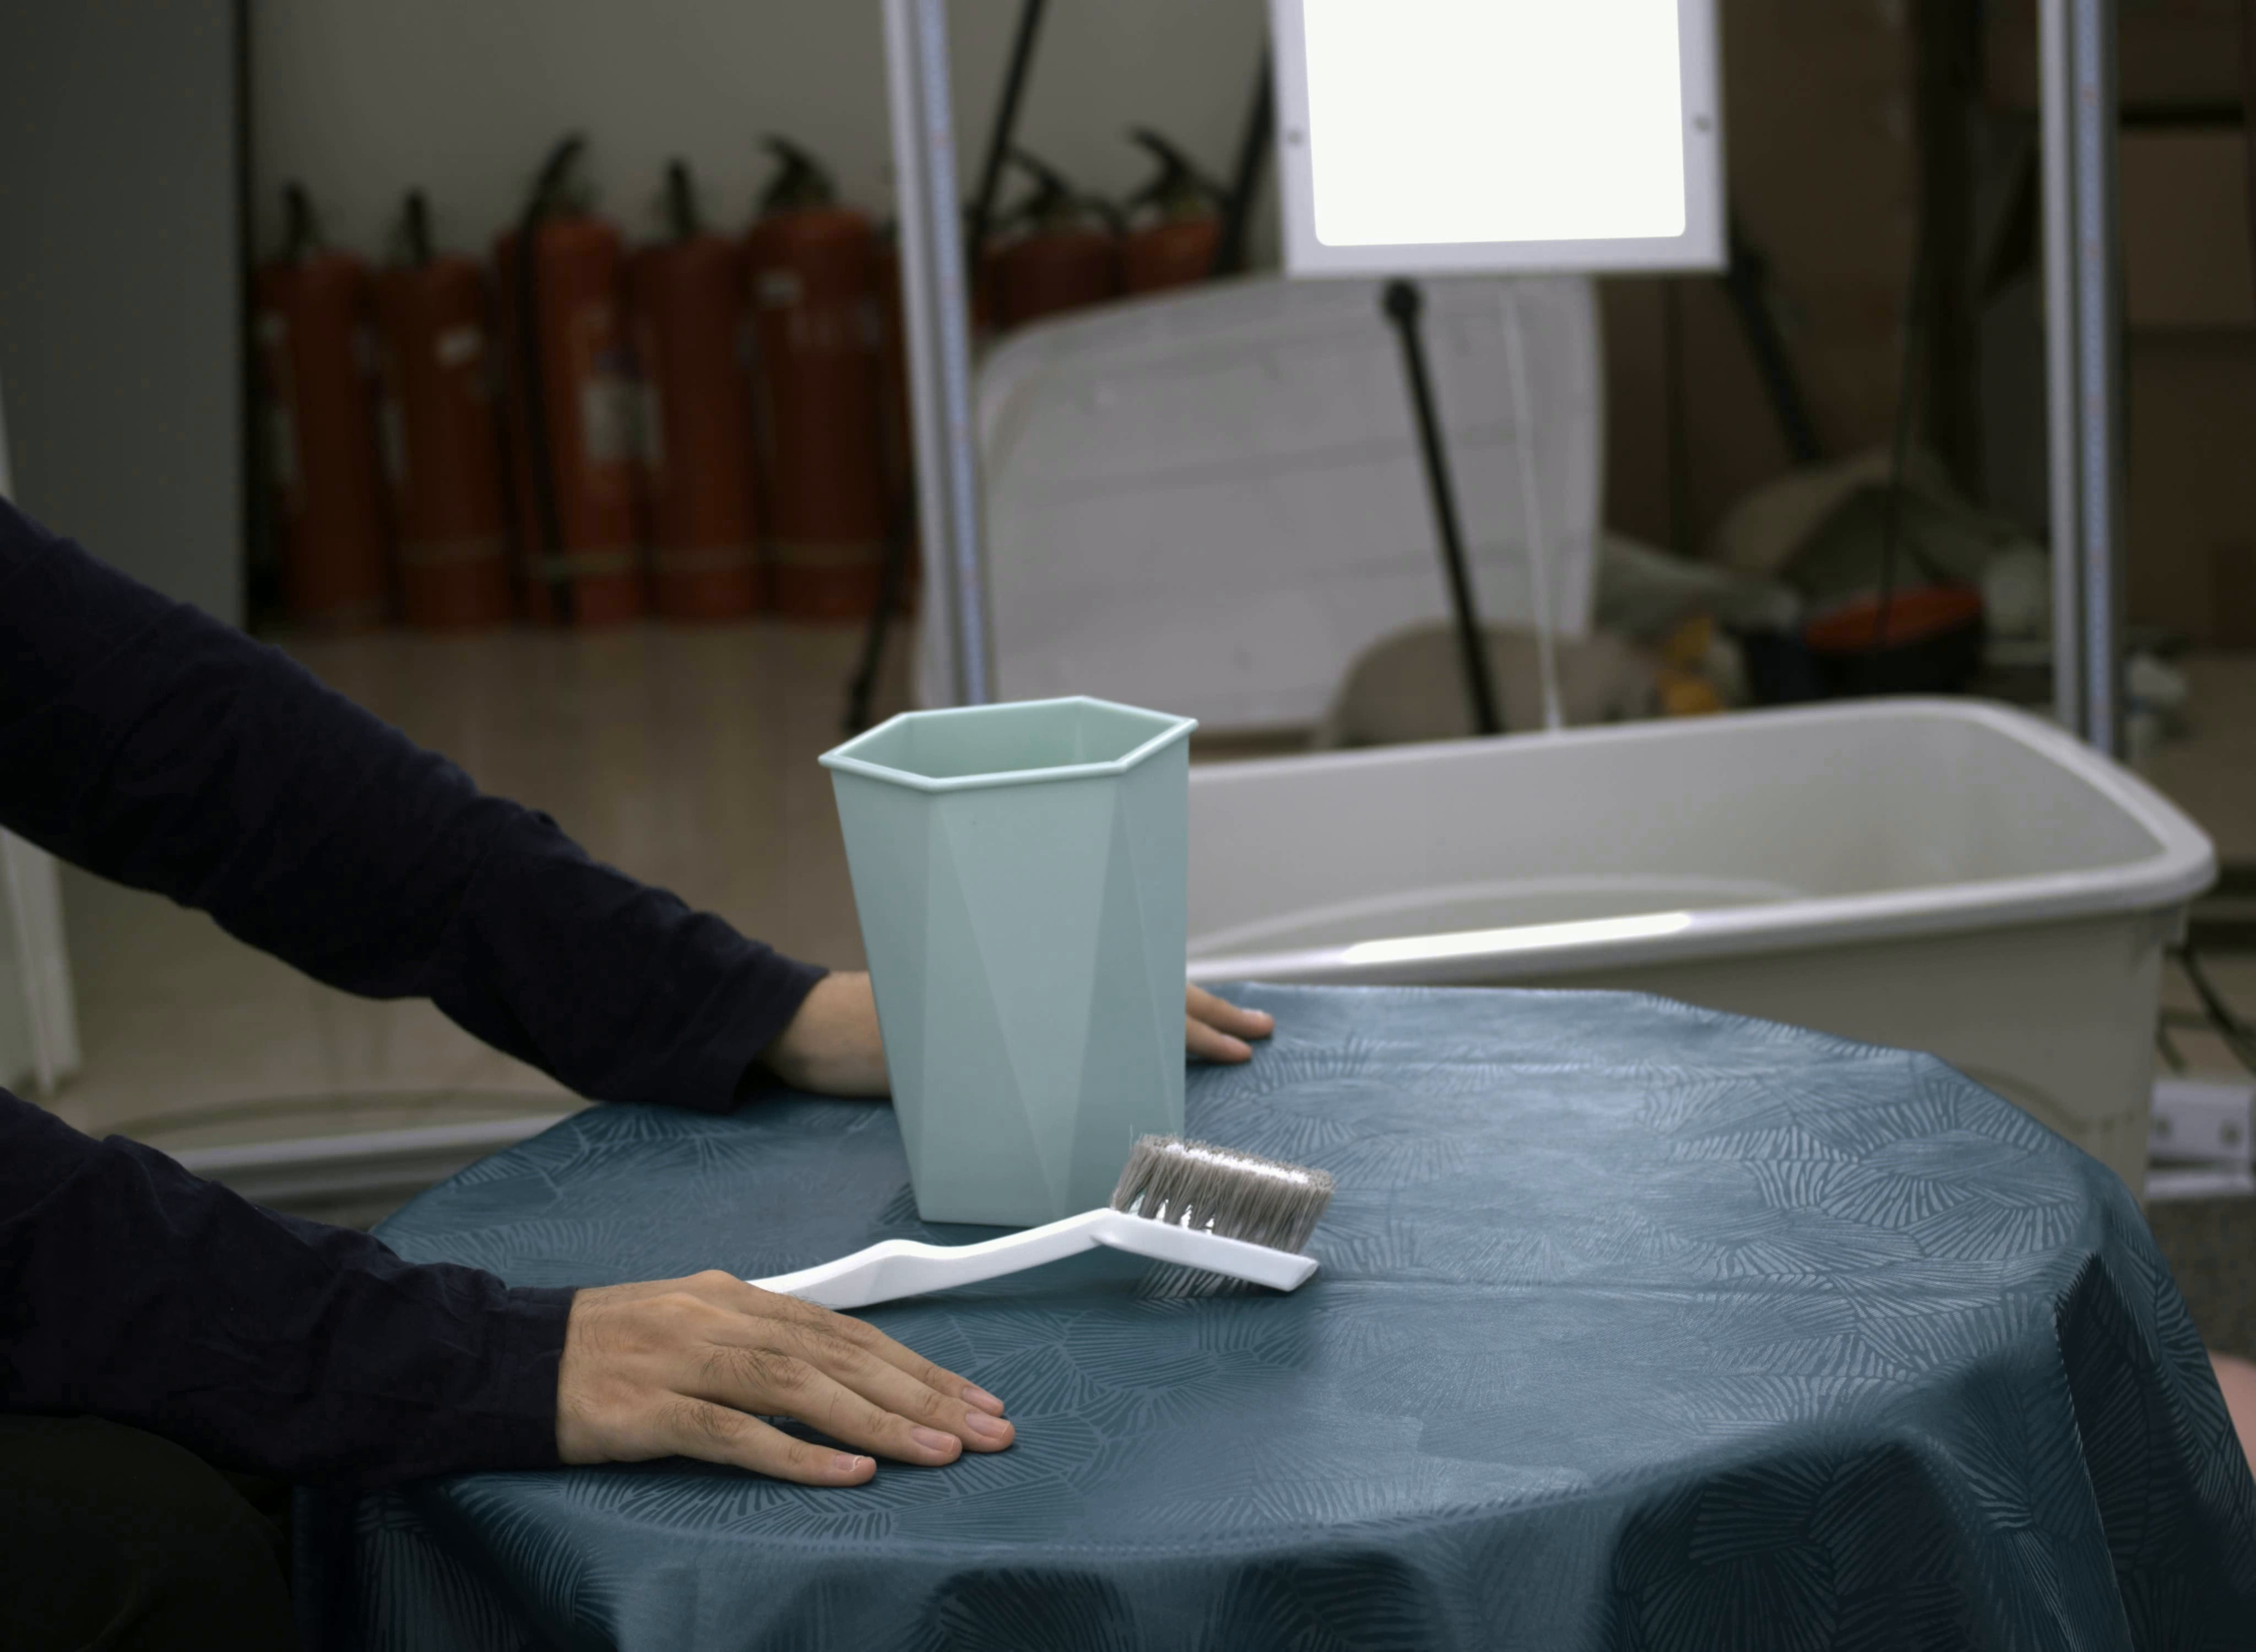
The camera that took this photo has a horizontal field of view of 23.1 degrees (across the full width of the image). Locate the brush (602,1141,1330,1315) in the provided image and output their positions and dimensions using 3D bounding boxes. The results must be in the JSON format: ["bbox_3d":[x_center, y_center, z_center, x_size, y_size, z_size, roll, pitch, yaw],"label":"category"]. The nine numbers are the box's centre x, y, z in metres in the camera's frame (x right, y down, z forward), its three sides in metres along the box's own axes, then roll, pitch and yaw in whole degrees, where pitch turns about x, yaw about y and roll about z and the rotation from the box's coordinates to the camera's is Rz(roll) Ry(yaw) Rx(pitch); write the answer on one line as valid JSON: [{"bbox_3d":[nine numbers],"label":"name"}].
[{"bbox_3d":[-0.054,0.131,1.799,0.245,0.050,0.034,-3,14,10],"label":"brush"}]

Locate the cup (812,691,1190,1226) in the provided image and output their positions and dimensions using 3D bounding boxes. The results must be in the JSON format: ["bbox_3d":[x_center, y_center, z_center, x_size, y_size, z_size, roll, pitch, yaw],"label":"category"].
[{"bbox_3d":[-0.035,0.046,1.897,0.112,0.163,0.134,-16,17,-35],"label":"cup"}]
